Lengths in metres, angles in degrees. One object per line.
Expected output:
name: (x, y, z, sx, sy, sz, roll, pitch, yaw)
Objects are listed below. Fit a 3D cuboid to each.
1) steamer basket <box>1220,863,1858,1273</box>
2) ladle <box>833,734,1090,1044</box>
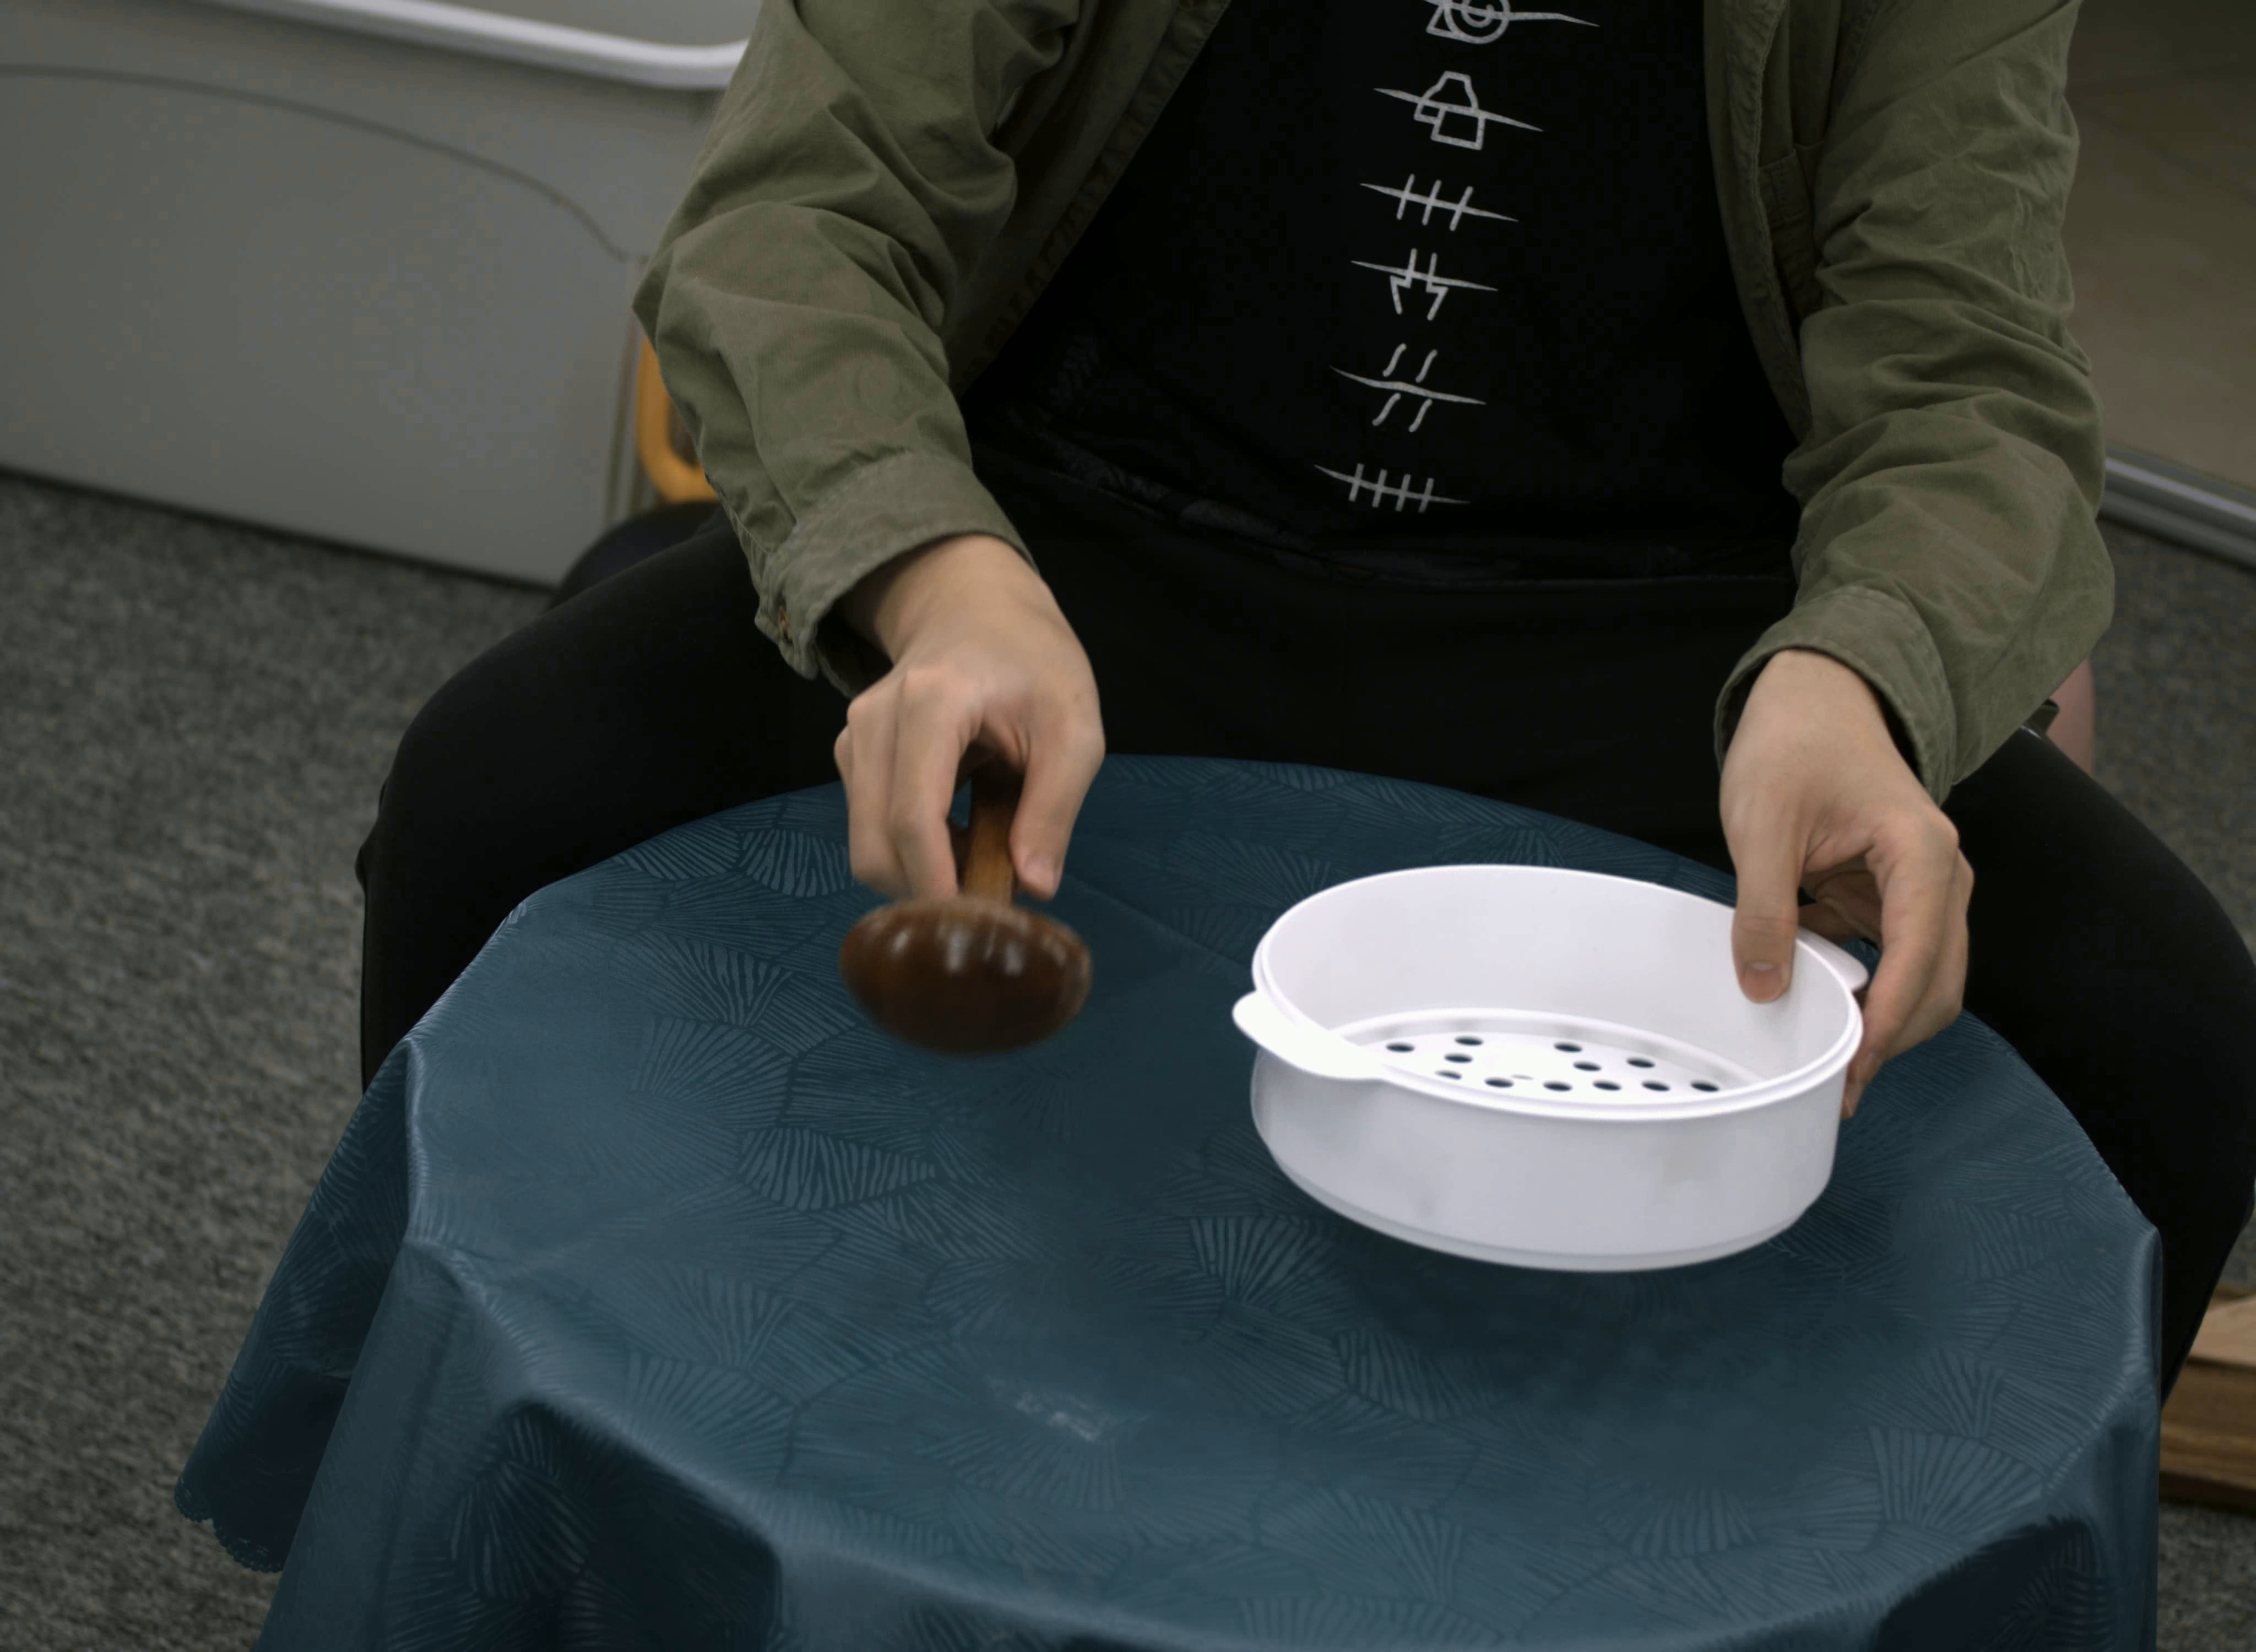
steamer basket: (0.134, 0.080, 1.755, 0.229, 0.069, 0.203, -7, 24, -29)
ladle: (-0.047, -0.002, 1.771, 0.082, 0.076, 0.275, 9, 25, 0)
